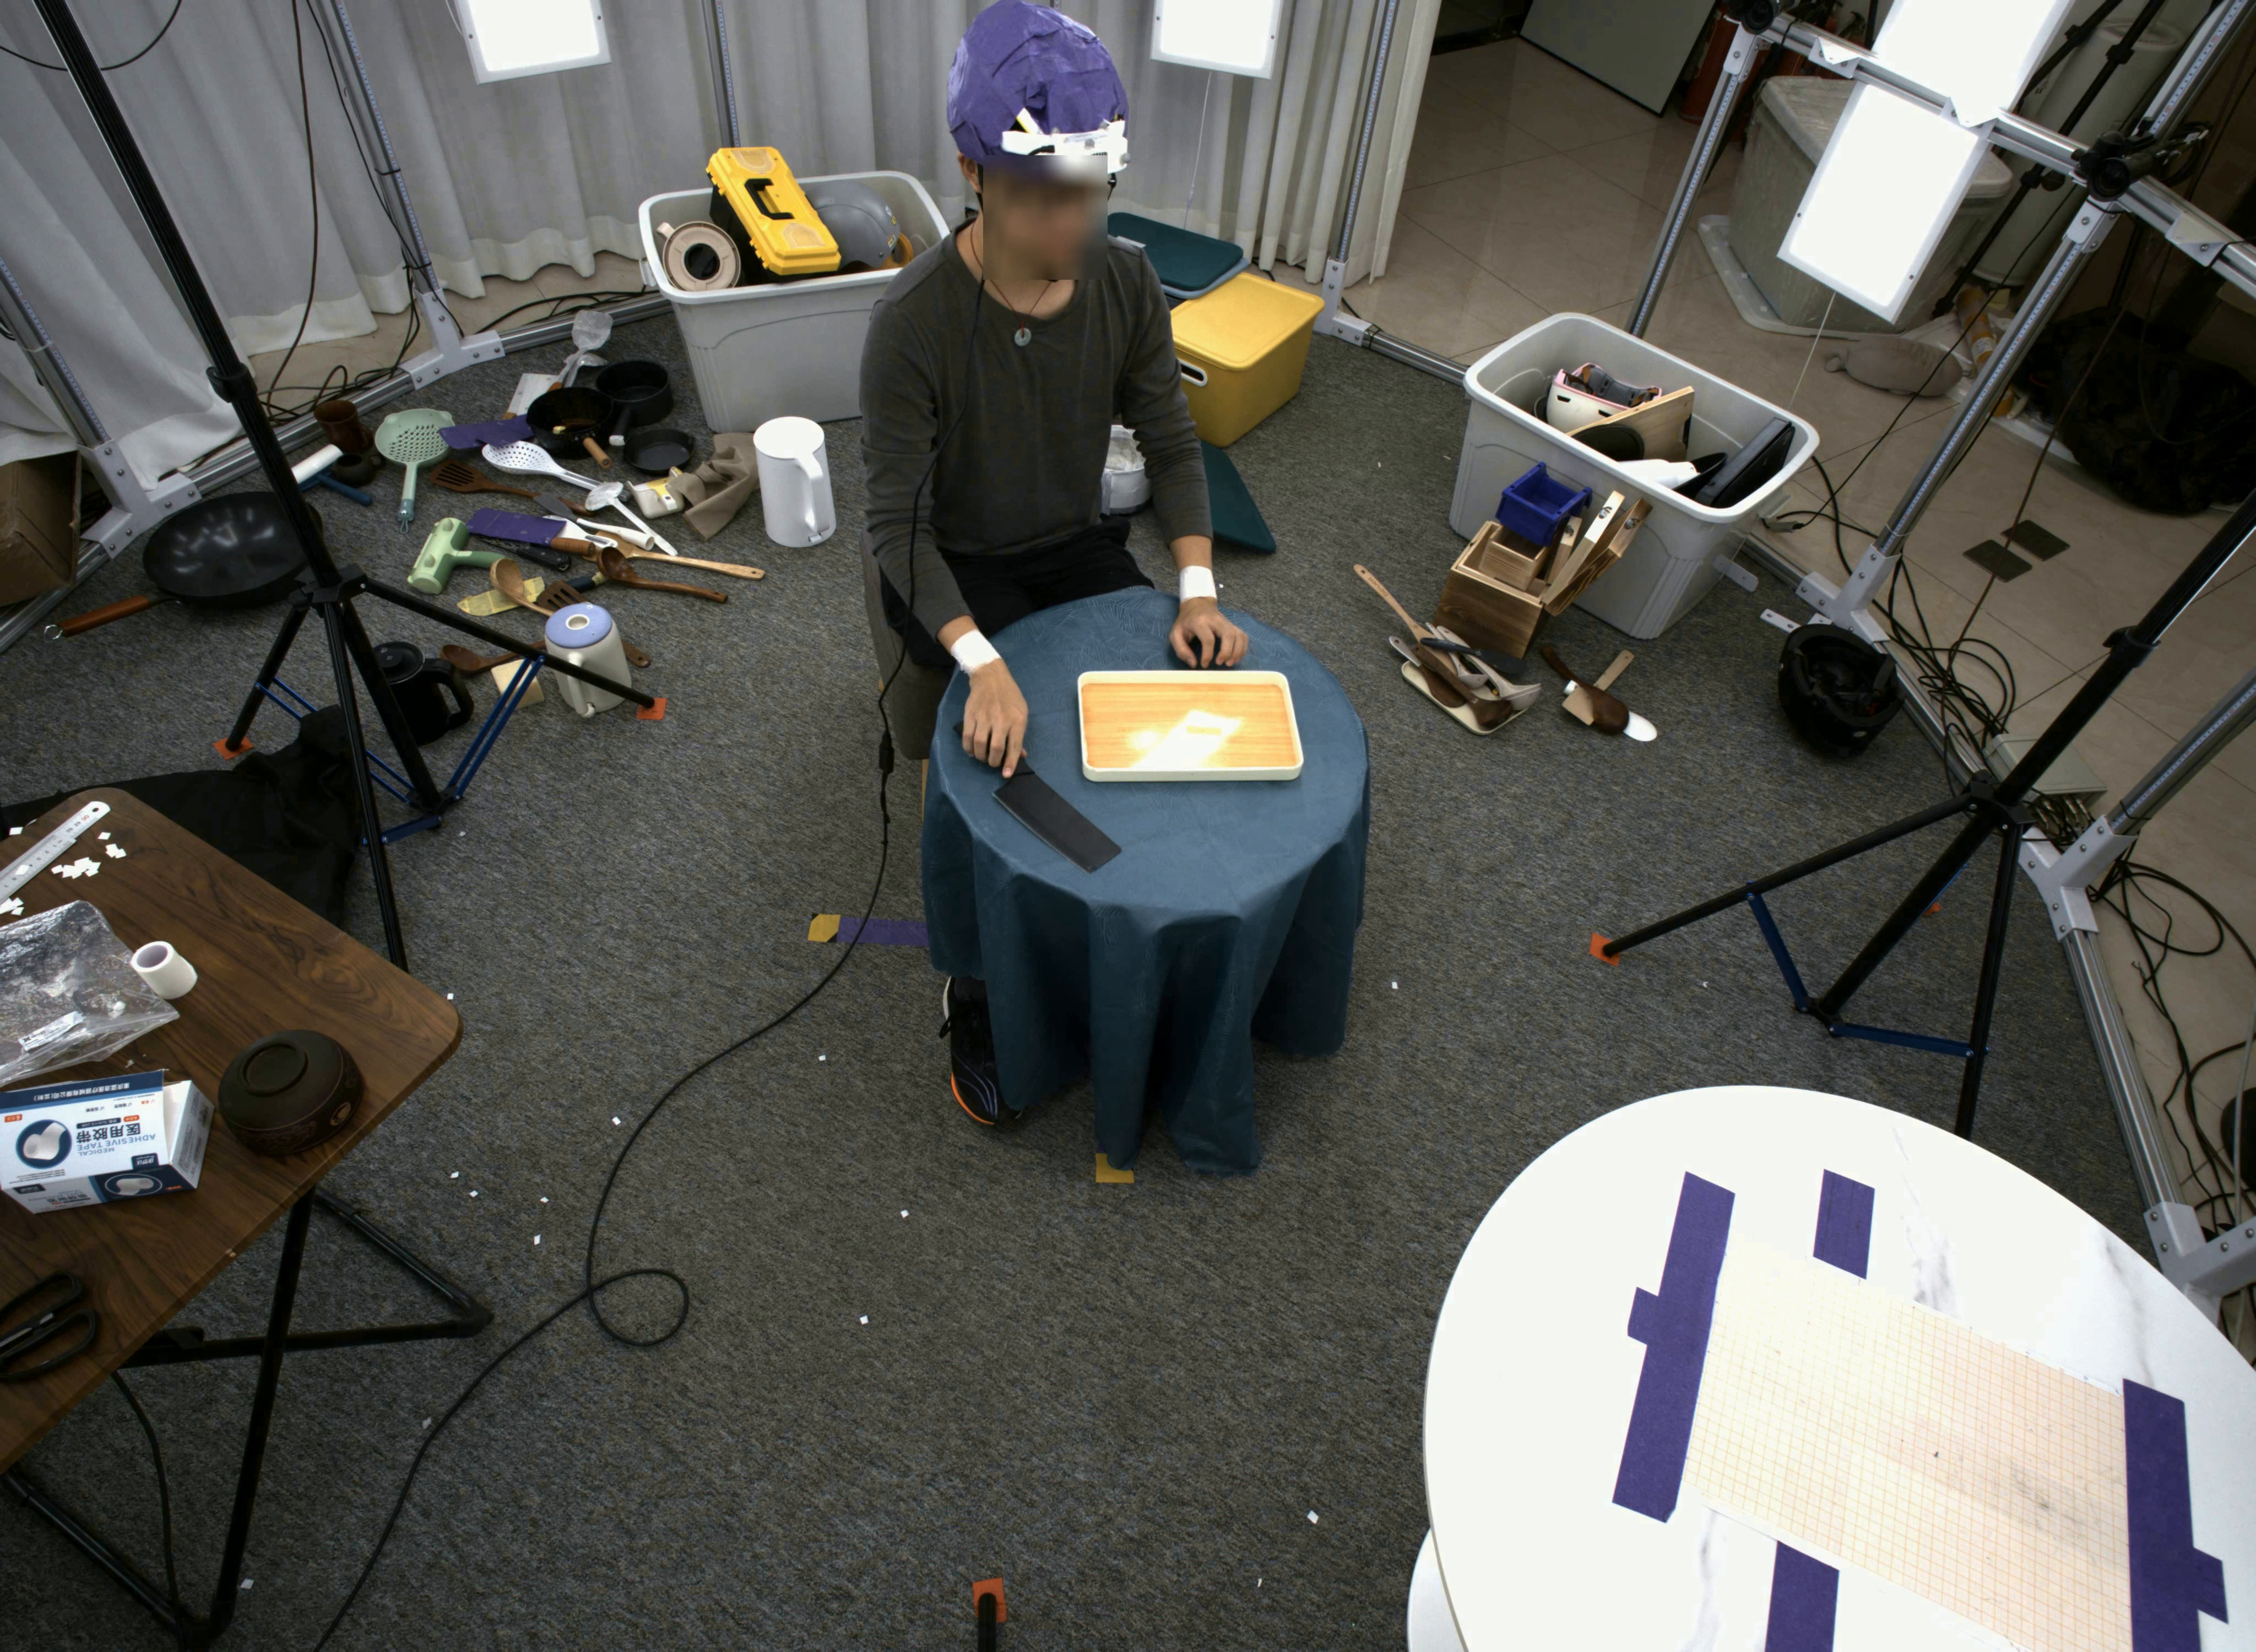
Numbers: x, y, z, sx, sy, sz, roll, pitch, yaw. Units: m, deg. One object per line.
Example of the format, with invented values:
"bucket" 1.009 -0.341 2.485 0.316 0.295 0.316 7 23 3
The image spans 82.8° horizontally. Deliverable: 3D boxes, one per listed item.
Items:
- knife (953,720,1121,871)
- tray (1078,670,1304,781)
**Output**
"knife" -0.130 -0.045 1.686 0.081 0.020 0.307 -27 57 -32
"tray" 0.083 -0.141 1.778 0.300 0.027 0.196 -1 49 -5
